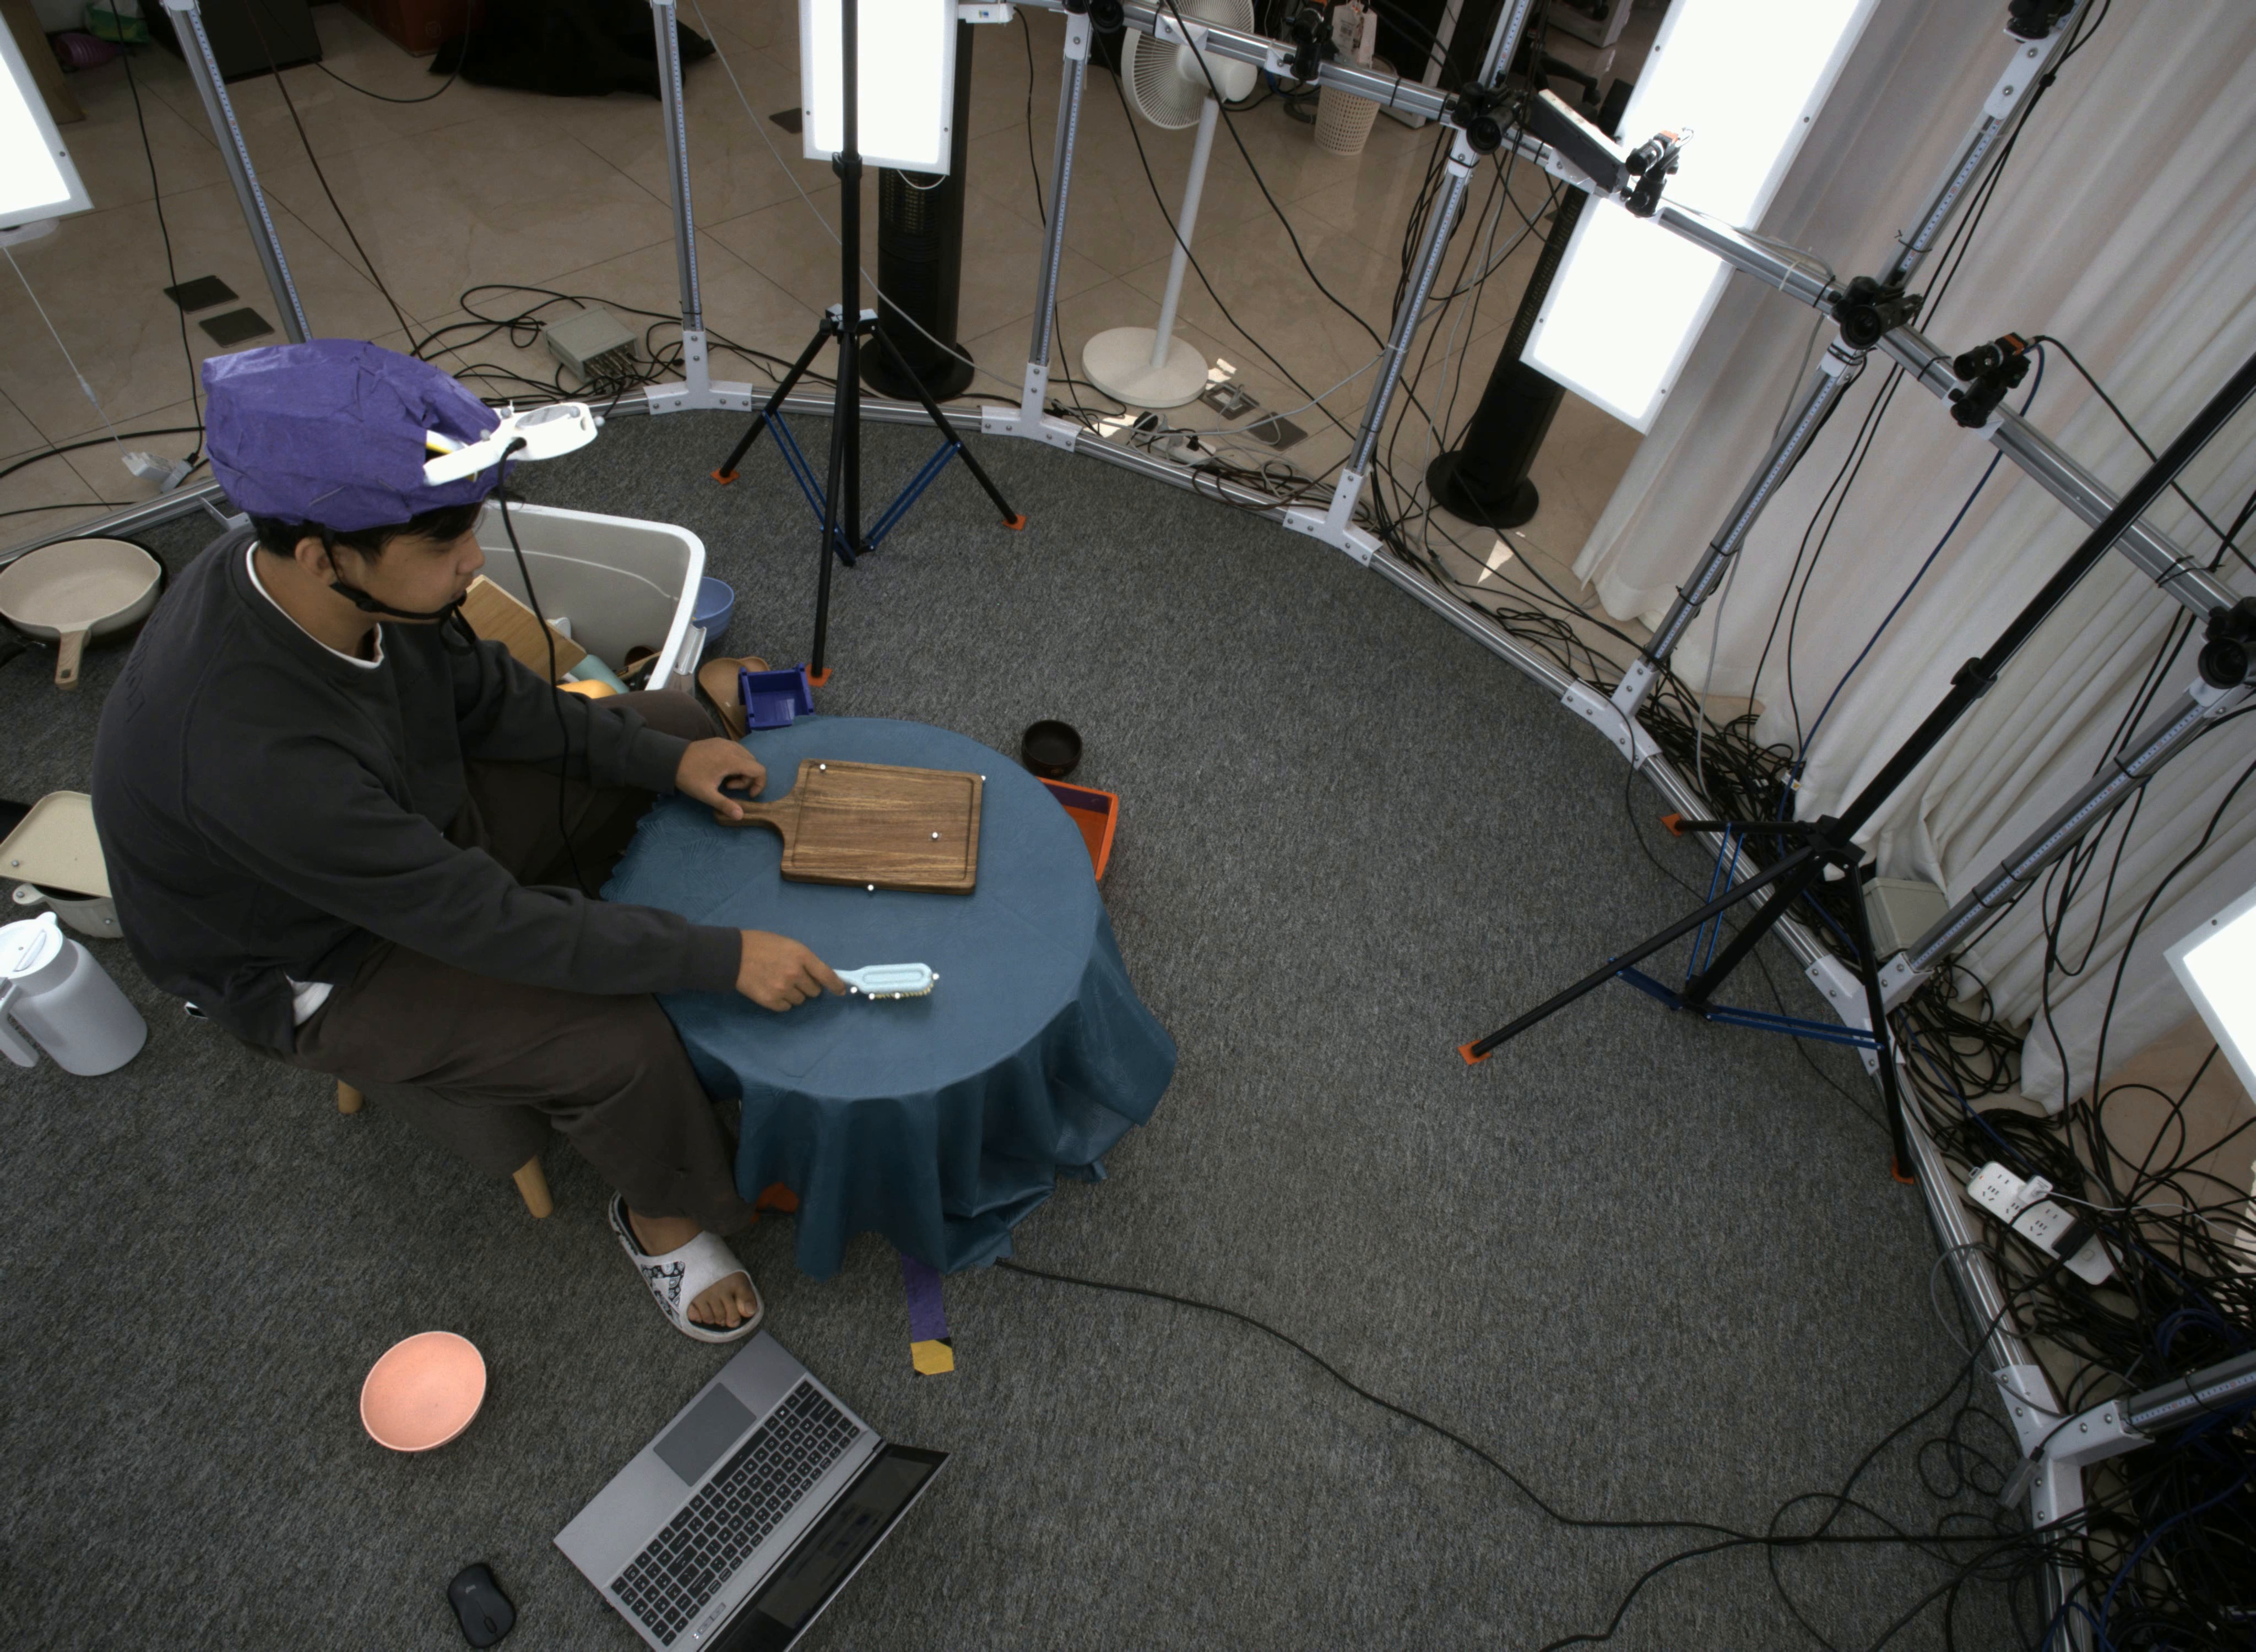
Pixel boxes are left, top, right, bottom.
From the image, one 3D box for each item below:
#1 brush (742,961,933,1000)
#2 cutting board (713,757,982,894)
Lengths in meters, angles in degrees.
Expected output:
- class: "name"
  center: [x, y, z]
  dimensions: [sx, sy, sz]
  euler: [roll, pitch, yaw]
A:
- class: "brush"
  center: [-0.350, 0.188, 1.570]
  dimensions: [0.228, 0.050, 0.037]
  euler: [-1, 59, -10]
- class: "cutting board"
  center: [-0.372, -0.008, 1.726]
  dimensions: [0.351, 0.023, 0.197]
  euler: [6, 53, -10]
